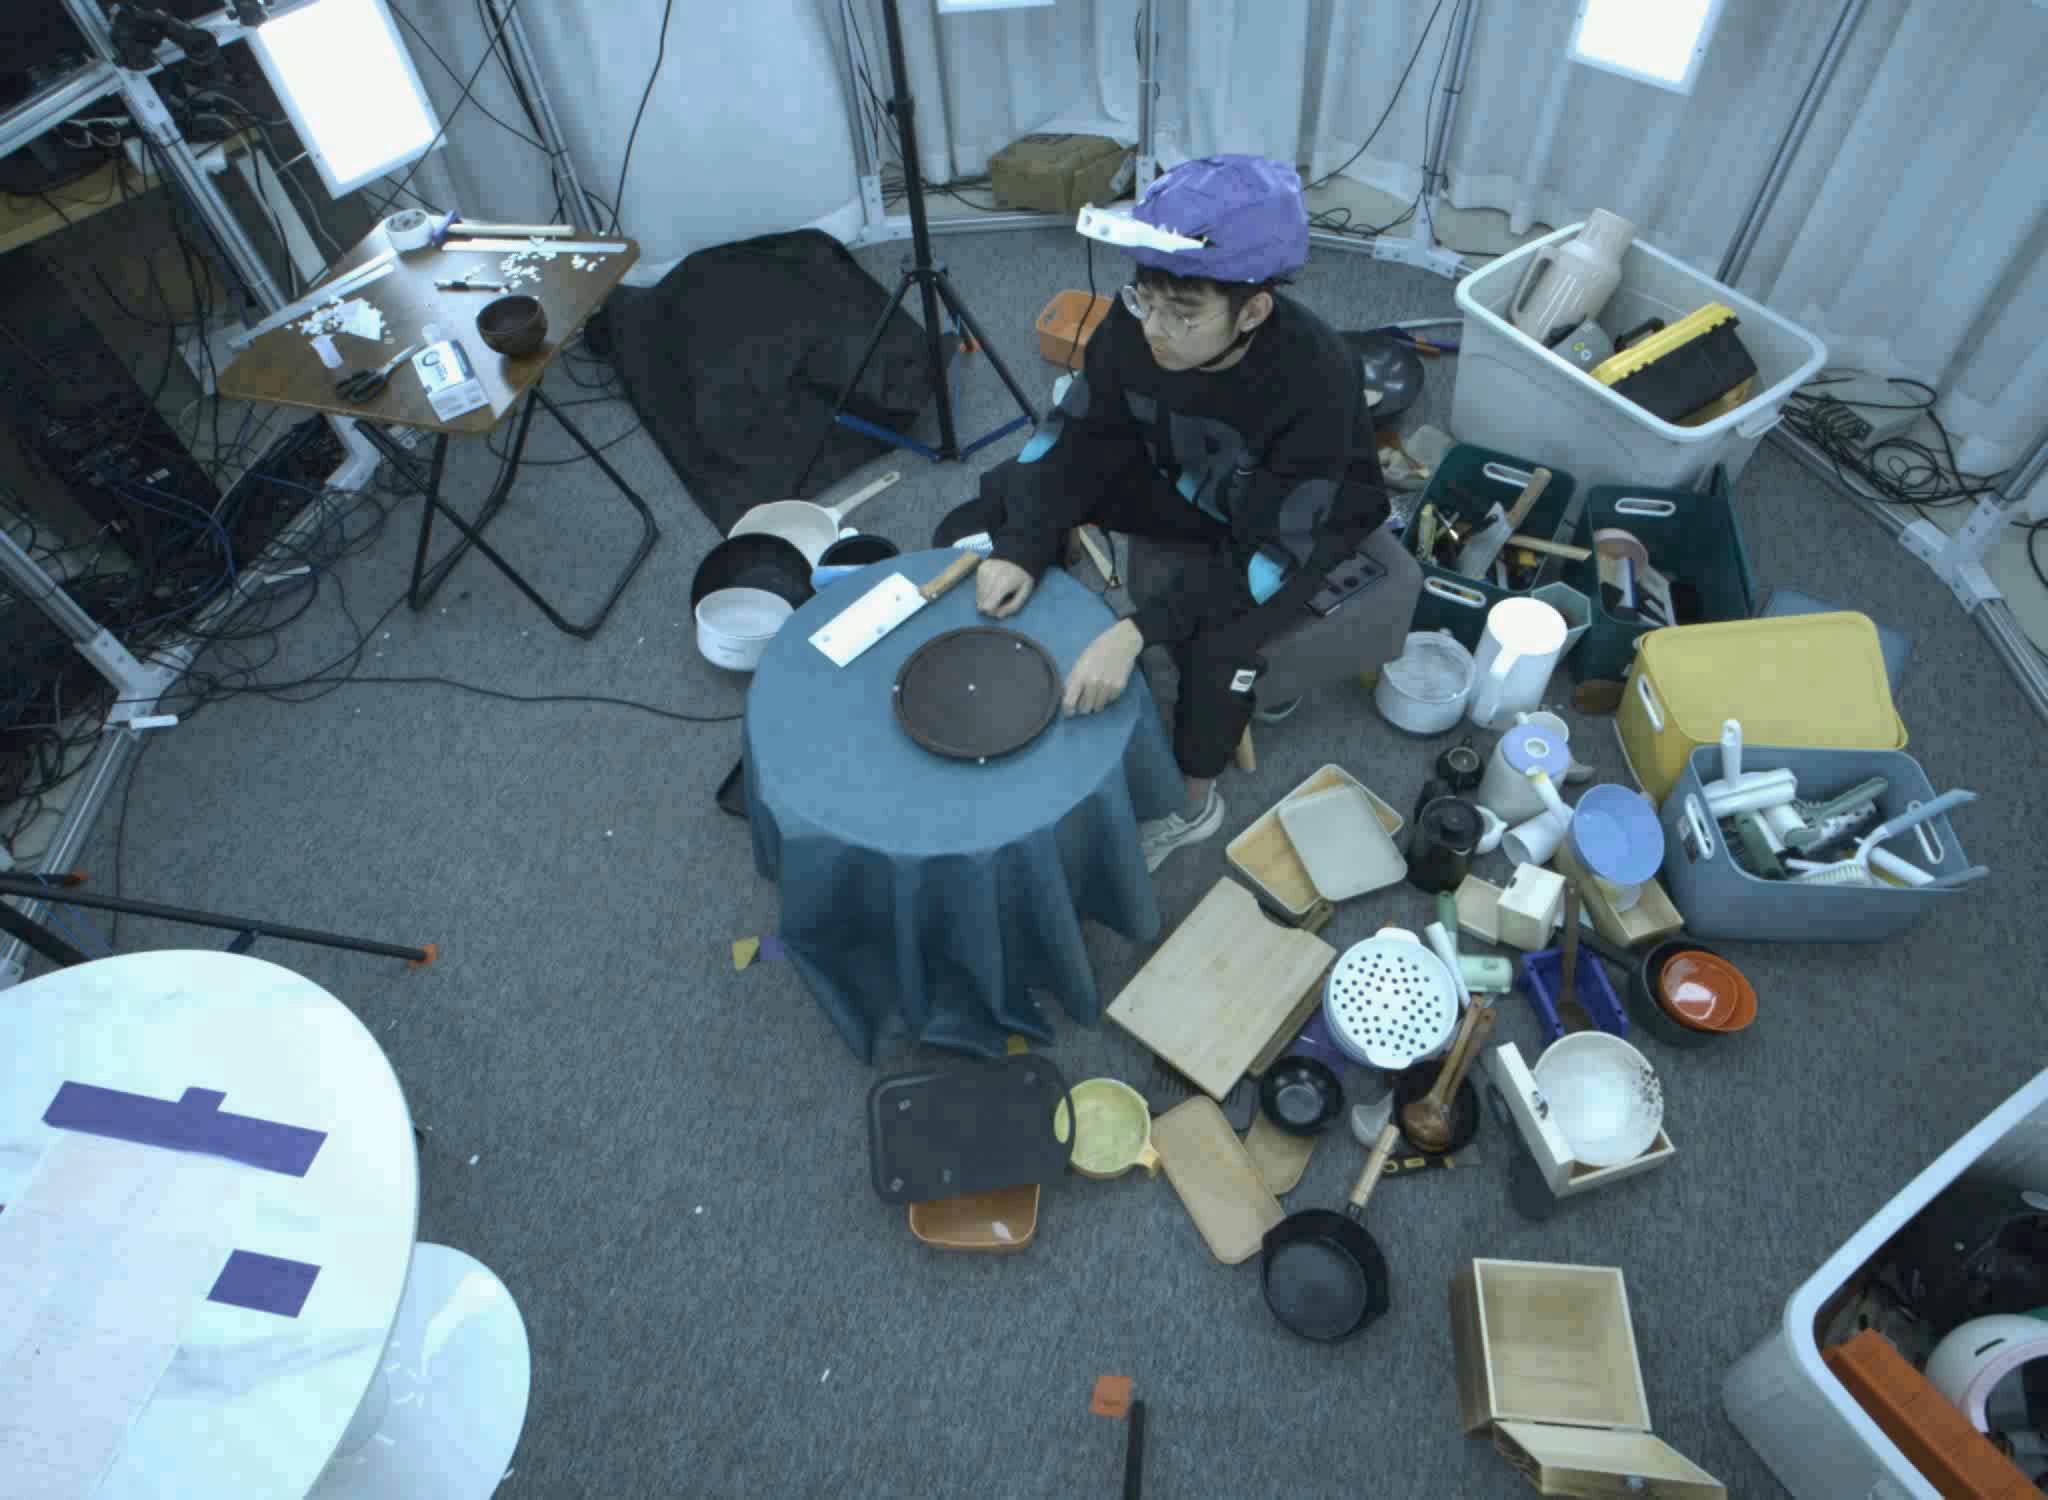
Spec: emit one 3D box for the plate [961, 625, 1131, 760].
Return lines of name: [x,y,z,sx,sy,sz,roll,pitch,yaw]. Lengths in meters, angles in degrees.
plate: [0.032,-0.087,1.832,0.254,0.029,0.252,-2,54,3]

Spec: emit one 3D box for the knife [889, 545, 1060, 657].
knife: [-0.083,-0.252,1.959,0.308,0.021,0.091,-37,60,-19]
